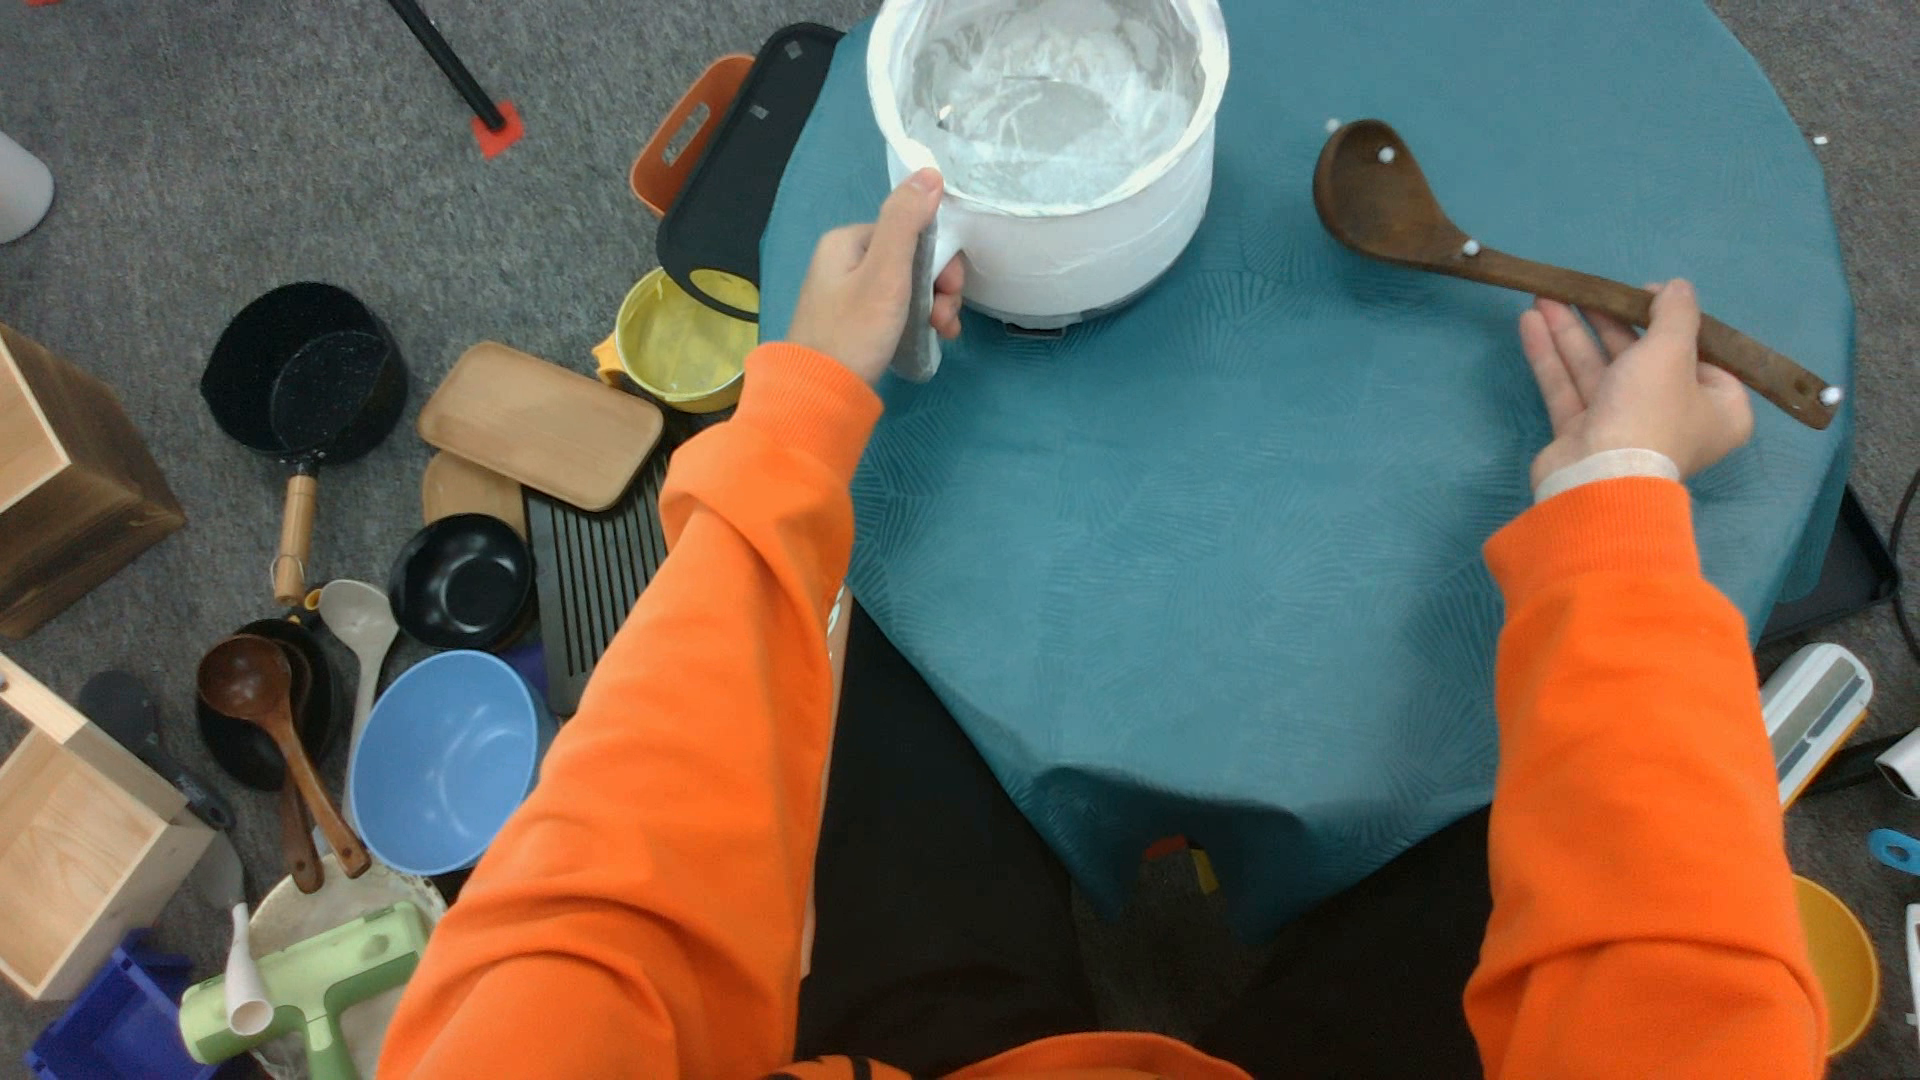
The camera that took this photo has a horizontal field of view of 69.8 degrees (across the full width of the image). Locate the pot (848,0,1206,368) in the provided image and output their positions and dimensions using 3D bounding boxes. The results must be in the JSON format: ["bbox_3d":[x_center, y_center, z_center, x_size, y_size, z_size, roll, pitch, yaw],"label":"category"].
[{"bbox_3d":[0.021,-0.201,0.729,0.179,0.136,0.234,32,76,14],"label":"pot"}]

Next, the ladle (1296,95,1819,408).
[{"bbox_3d":[0.297,-0.148,0.690,0.274,0.071,0.076,30,69,24],"label":"ladle"}]
